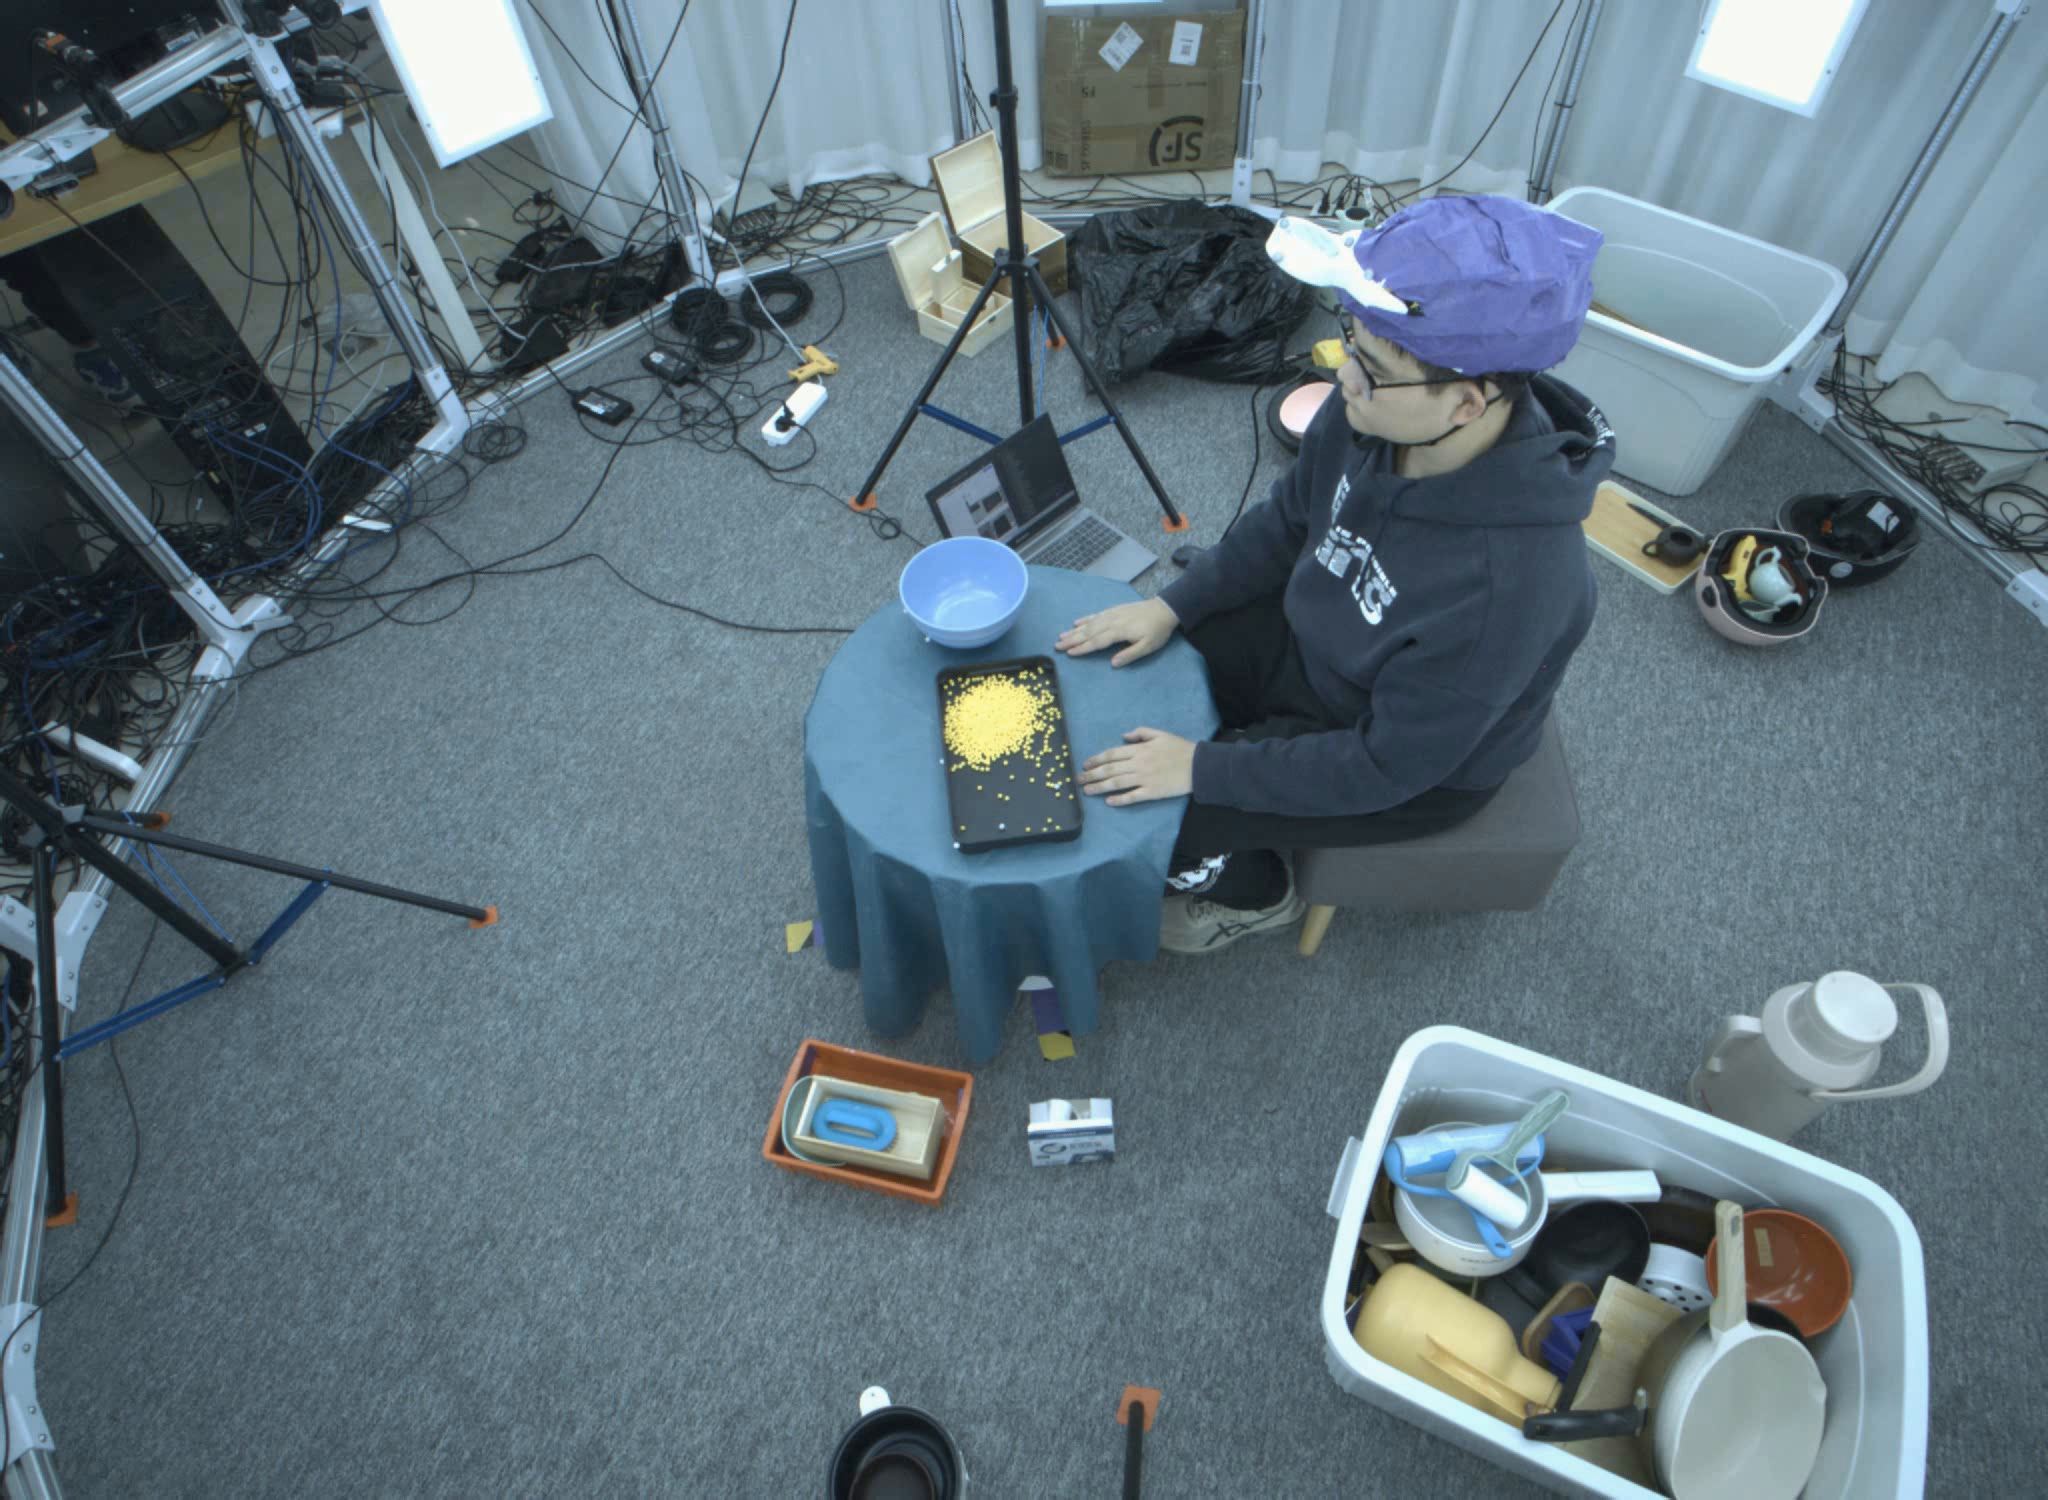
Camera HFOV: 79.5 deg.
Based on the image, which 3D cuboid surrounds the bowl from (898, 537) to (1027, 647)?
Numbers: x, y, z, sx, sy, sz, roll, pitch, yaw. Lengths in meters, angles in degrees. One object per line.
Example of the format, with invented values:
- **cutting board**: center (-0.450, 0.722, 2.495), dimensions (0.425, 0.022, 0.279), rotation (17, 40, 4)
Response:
- **bowl**: center (-0.091, -0.228, 1.892), dimensions (0.196, 0.096, 0.194), rotation (-1, 54, 2)

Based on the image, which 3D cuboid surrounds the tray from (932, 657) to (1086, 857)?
- **tray**: center (-0.025, 0.005, 1.765), dimensions (0.185, 0.037, 0.313), rotation (-8, 54, -5)
